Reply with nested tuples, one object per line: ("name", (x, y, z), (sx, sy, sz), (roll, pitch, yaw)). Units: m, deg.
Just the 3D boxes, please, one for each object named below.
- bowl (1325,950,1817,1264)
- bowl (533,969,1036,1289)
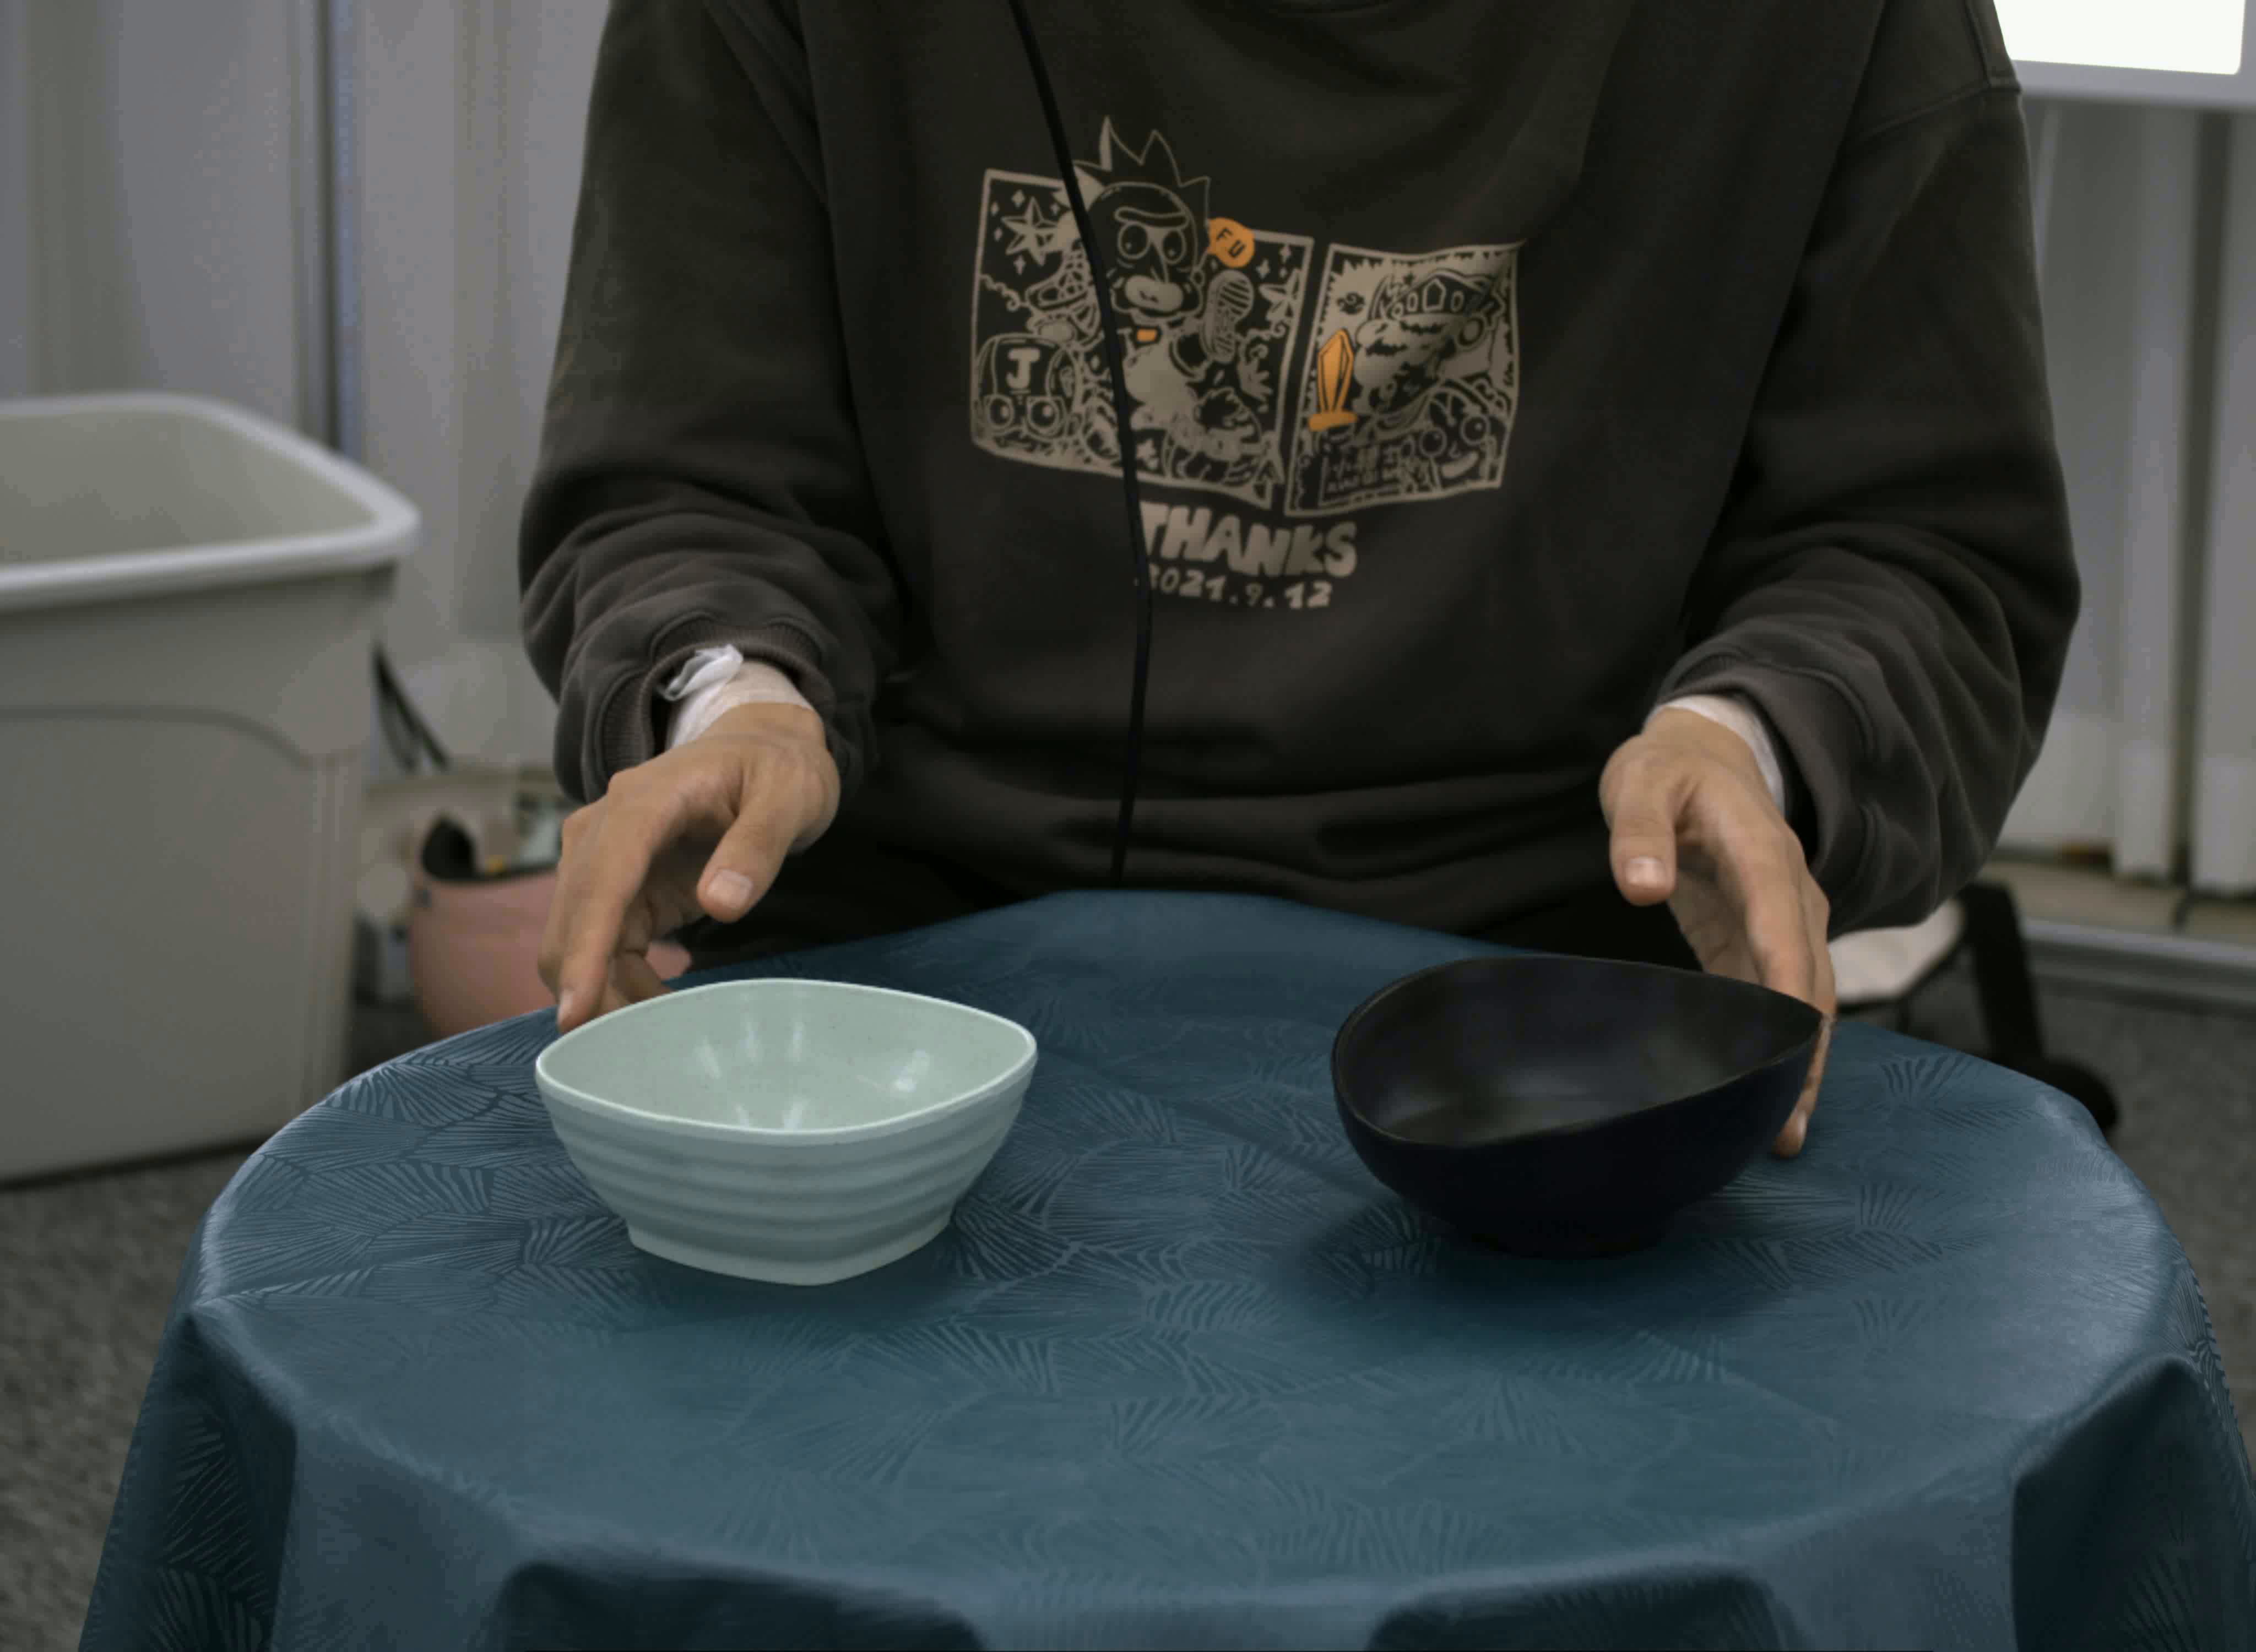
("bowl", (0.134, 0.091, 1.597), (0.135, 0.067, 0.171), (12, 21, 36))
("bowl", (-0.103, 0.094, 1.584), (0.151, 0.059, 0.150), (2, 17, 0))
